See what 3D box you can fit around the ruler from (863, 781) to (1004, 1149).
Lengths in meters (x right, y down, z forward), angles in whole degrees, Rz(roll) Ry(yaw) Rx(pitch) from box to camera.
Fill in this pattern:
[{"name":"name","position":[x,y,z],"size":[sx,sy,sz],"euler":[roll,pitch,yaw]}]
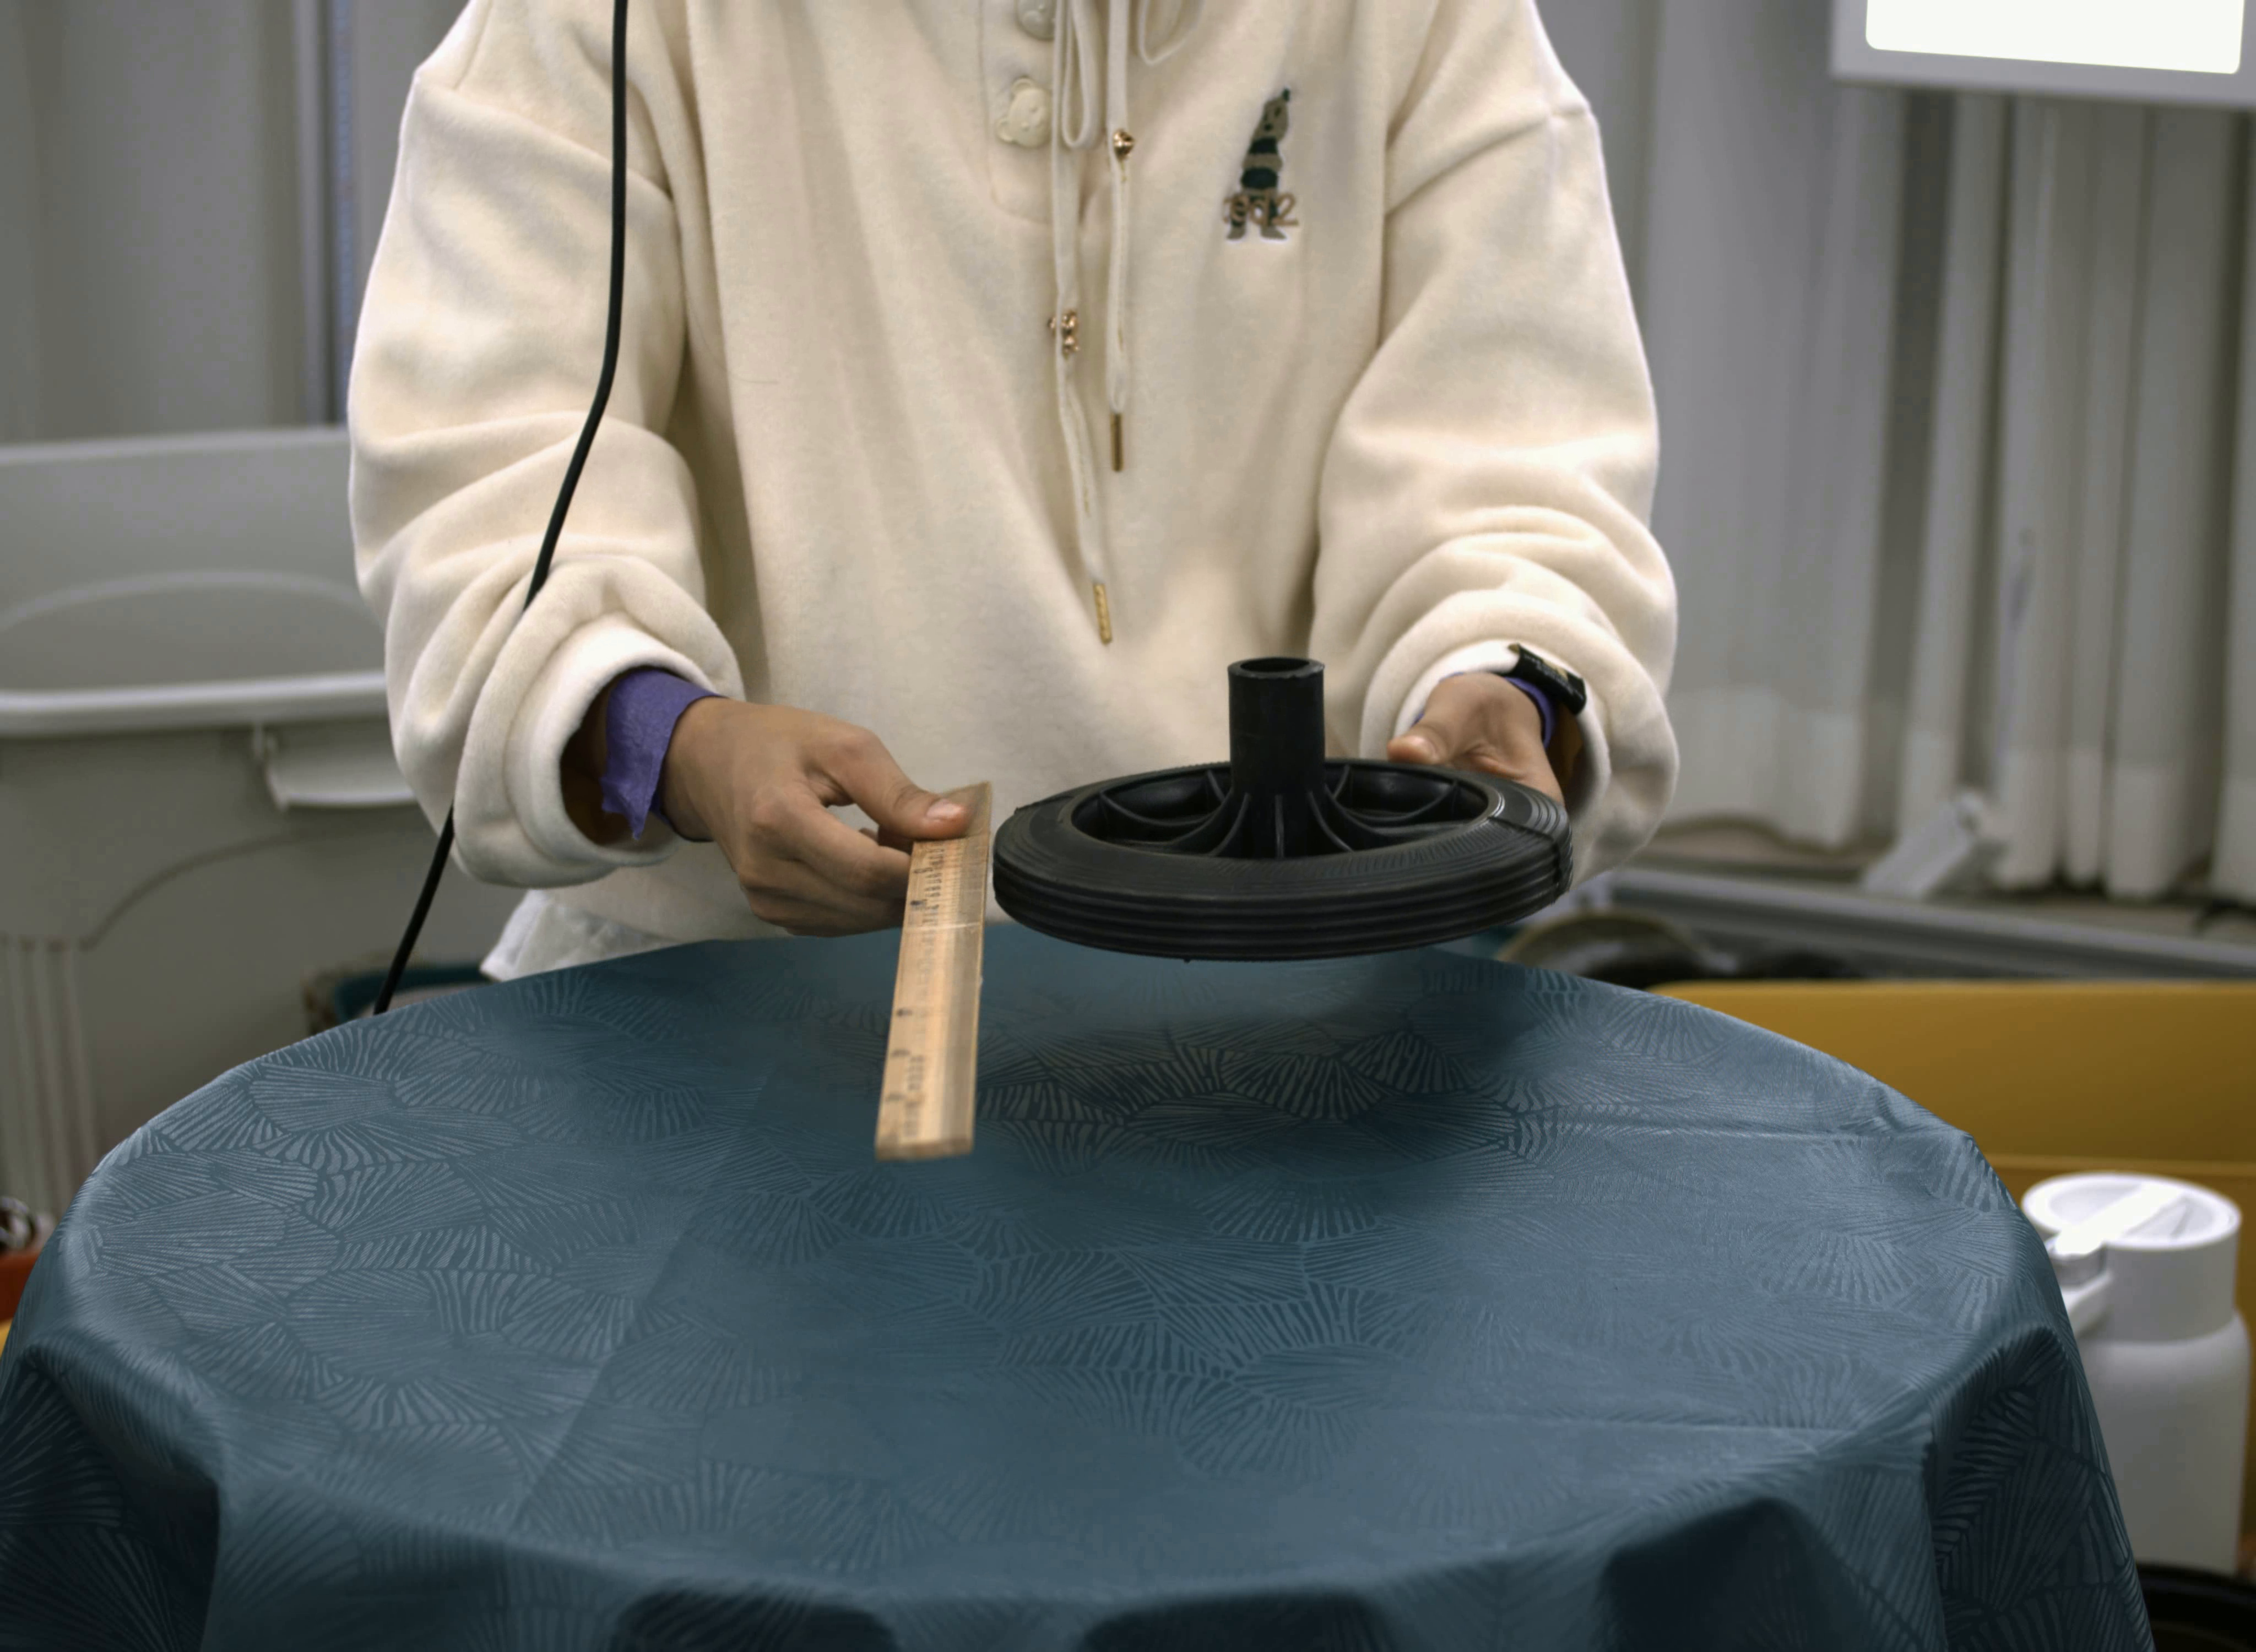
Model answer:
[{"name":"ruler","position":[-0.055,0.033,1.569],"size":[0.027,0.006,0.498],"euler":[-7,10,1]}]

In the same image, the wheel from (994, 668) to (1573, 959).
[{"name":"wheel","position":[0.050,-0.010,1.698],"size":[0.190,0.080,0.185],"euler":[-10,15,-31]}]
